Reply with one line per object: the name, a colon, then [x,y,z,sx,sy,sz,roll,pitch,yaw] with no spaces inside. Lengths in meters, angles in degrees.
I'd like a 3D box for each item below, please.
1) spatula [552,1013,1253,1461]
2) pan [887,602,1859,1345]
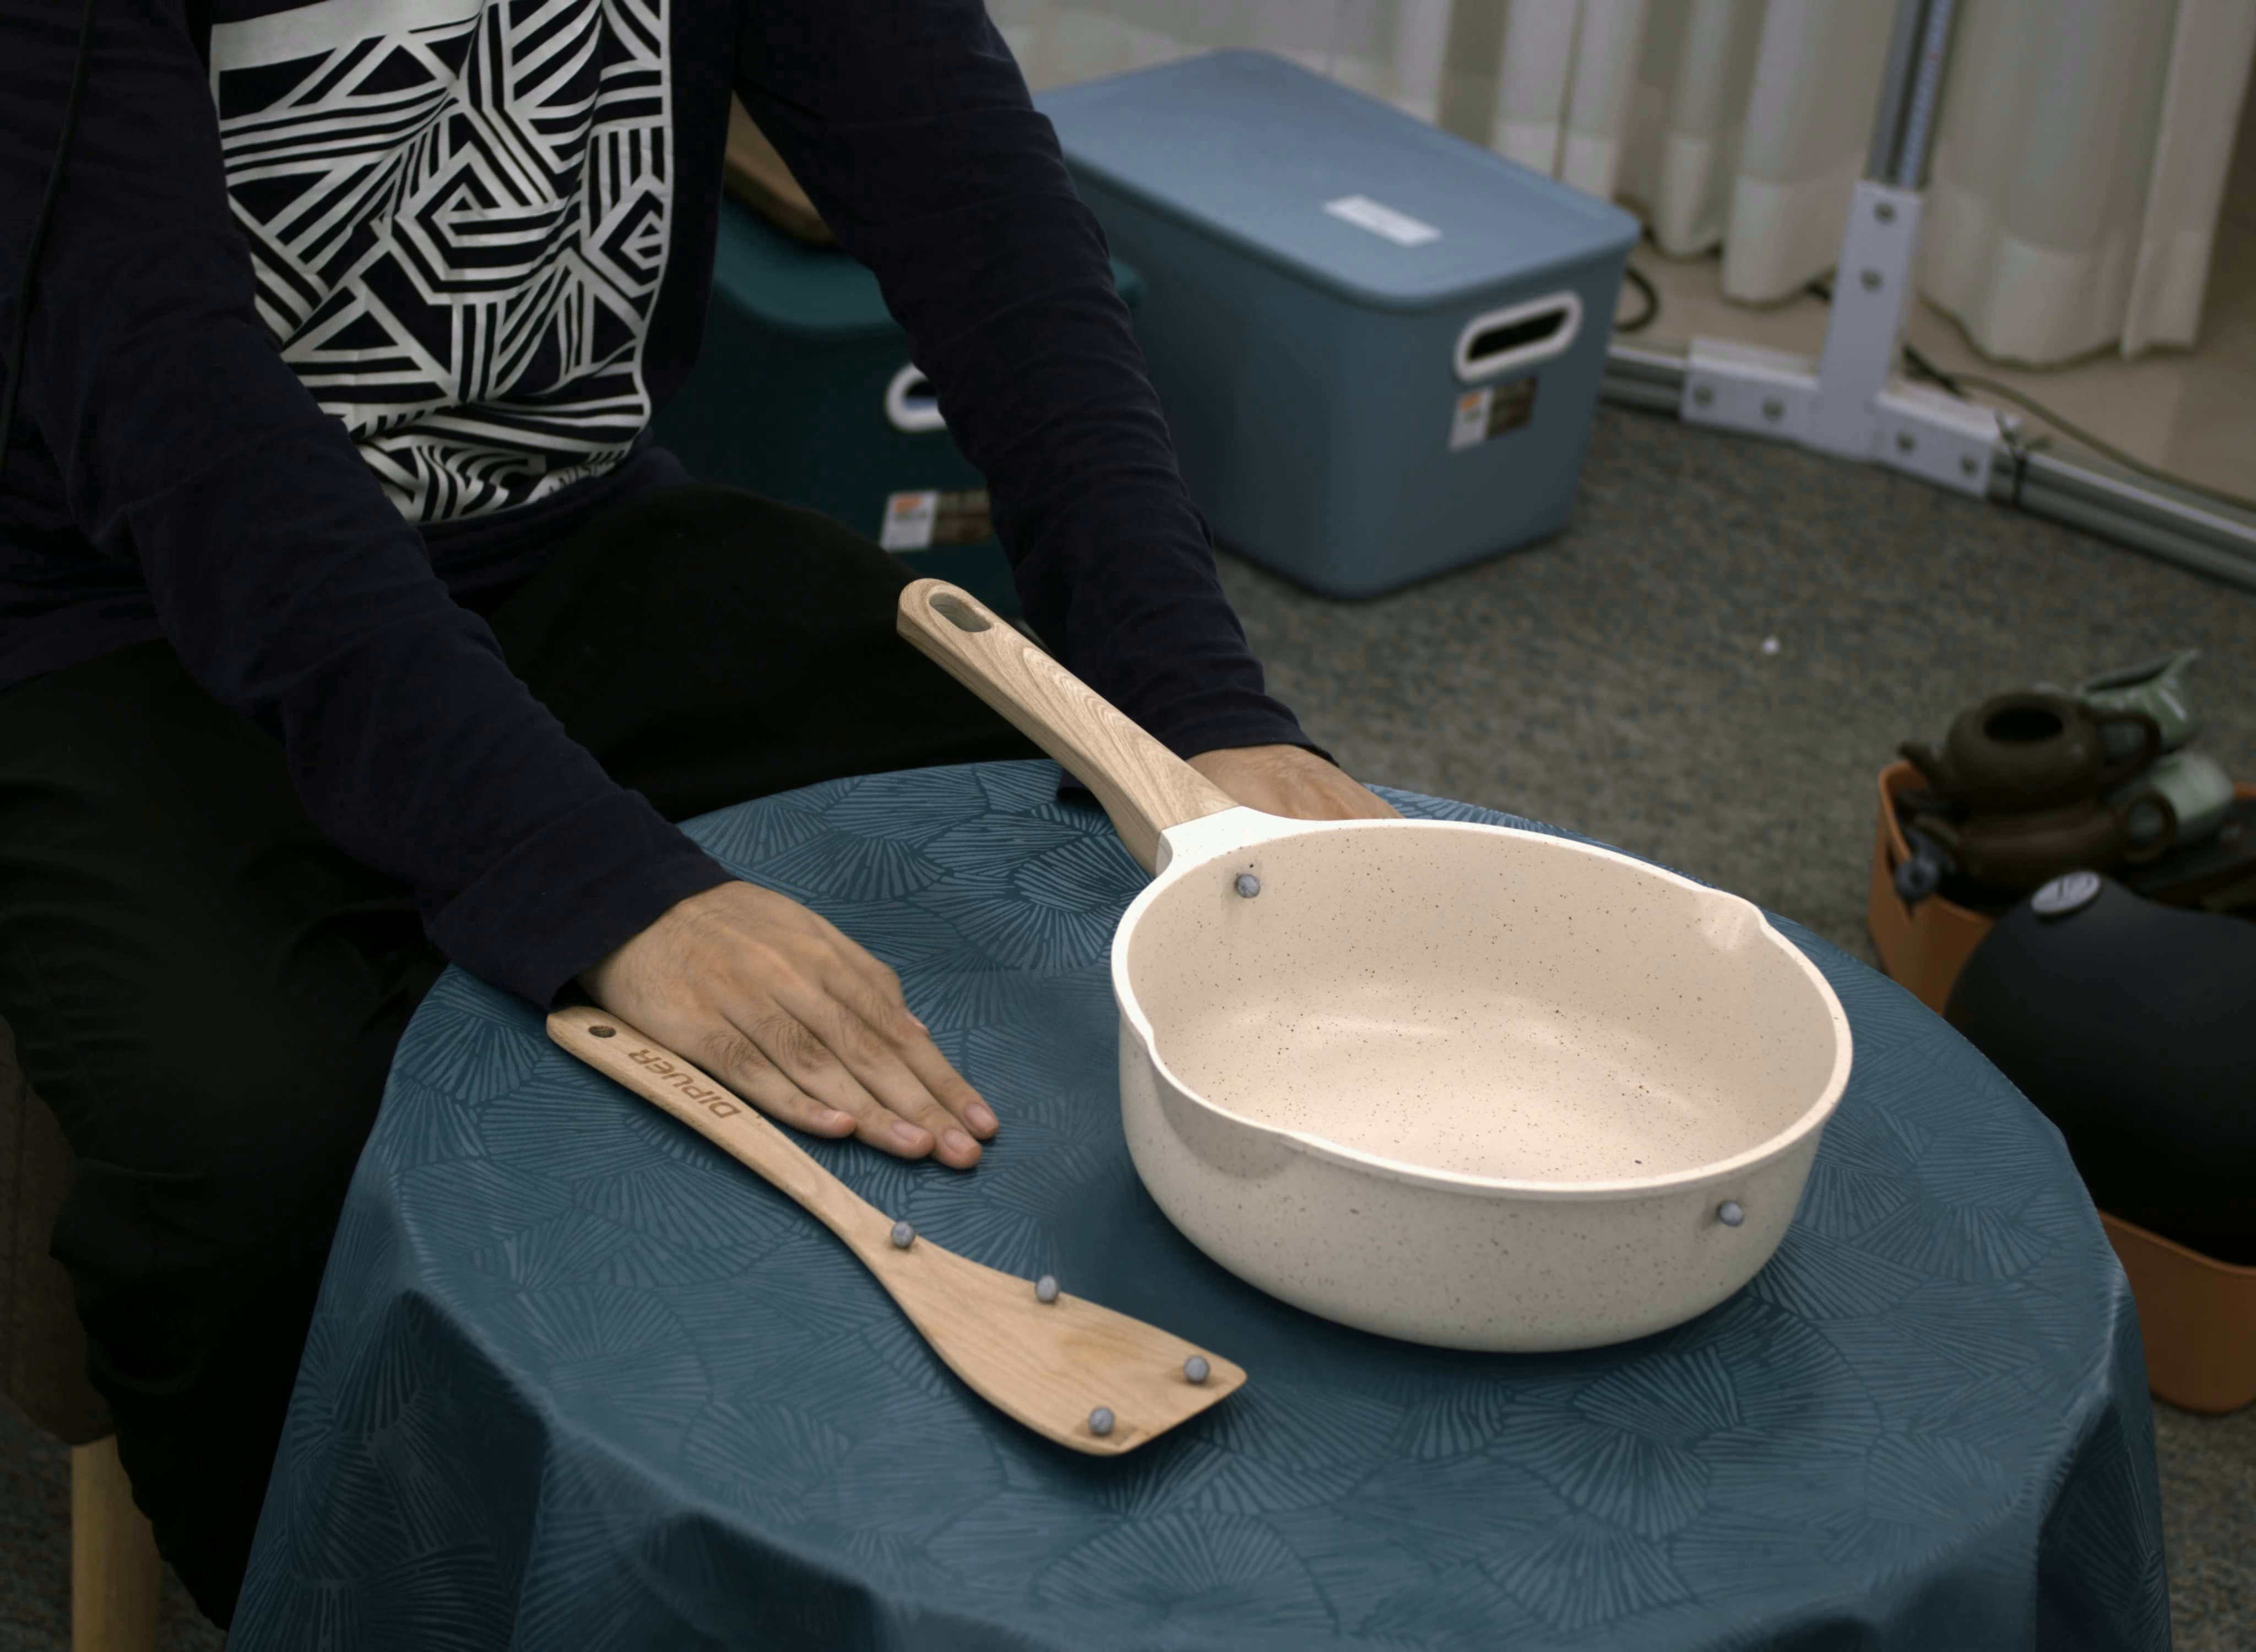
spatula: [-0.087,0.129,1.766,0.079,0.016,0.330,-15,34,-40]
pan: [0.058,0.047,1.869,0.262,0.101,0.438,-18,35,-38]
